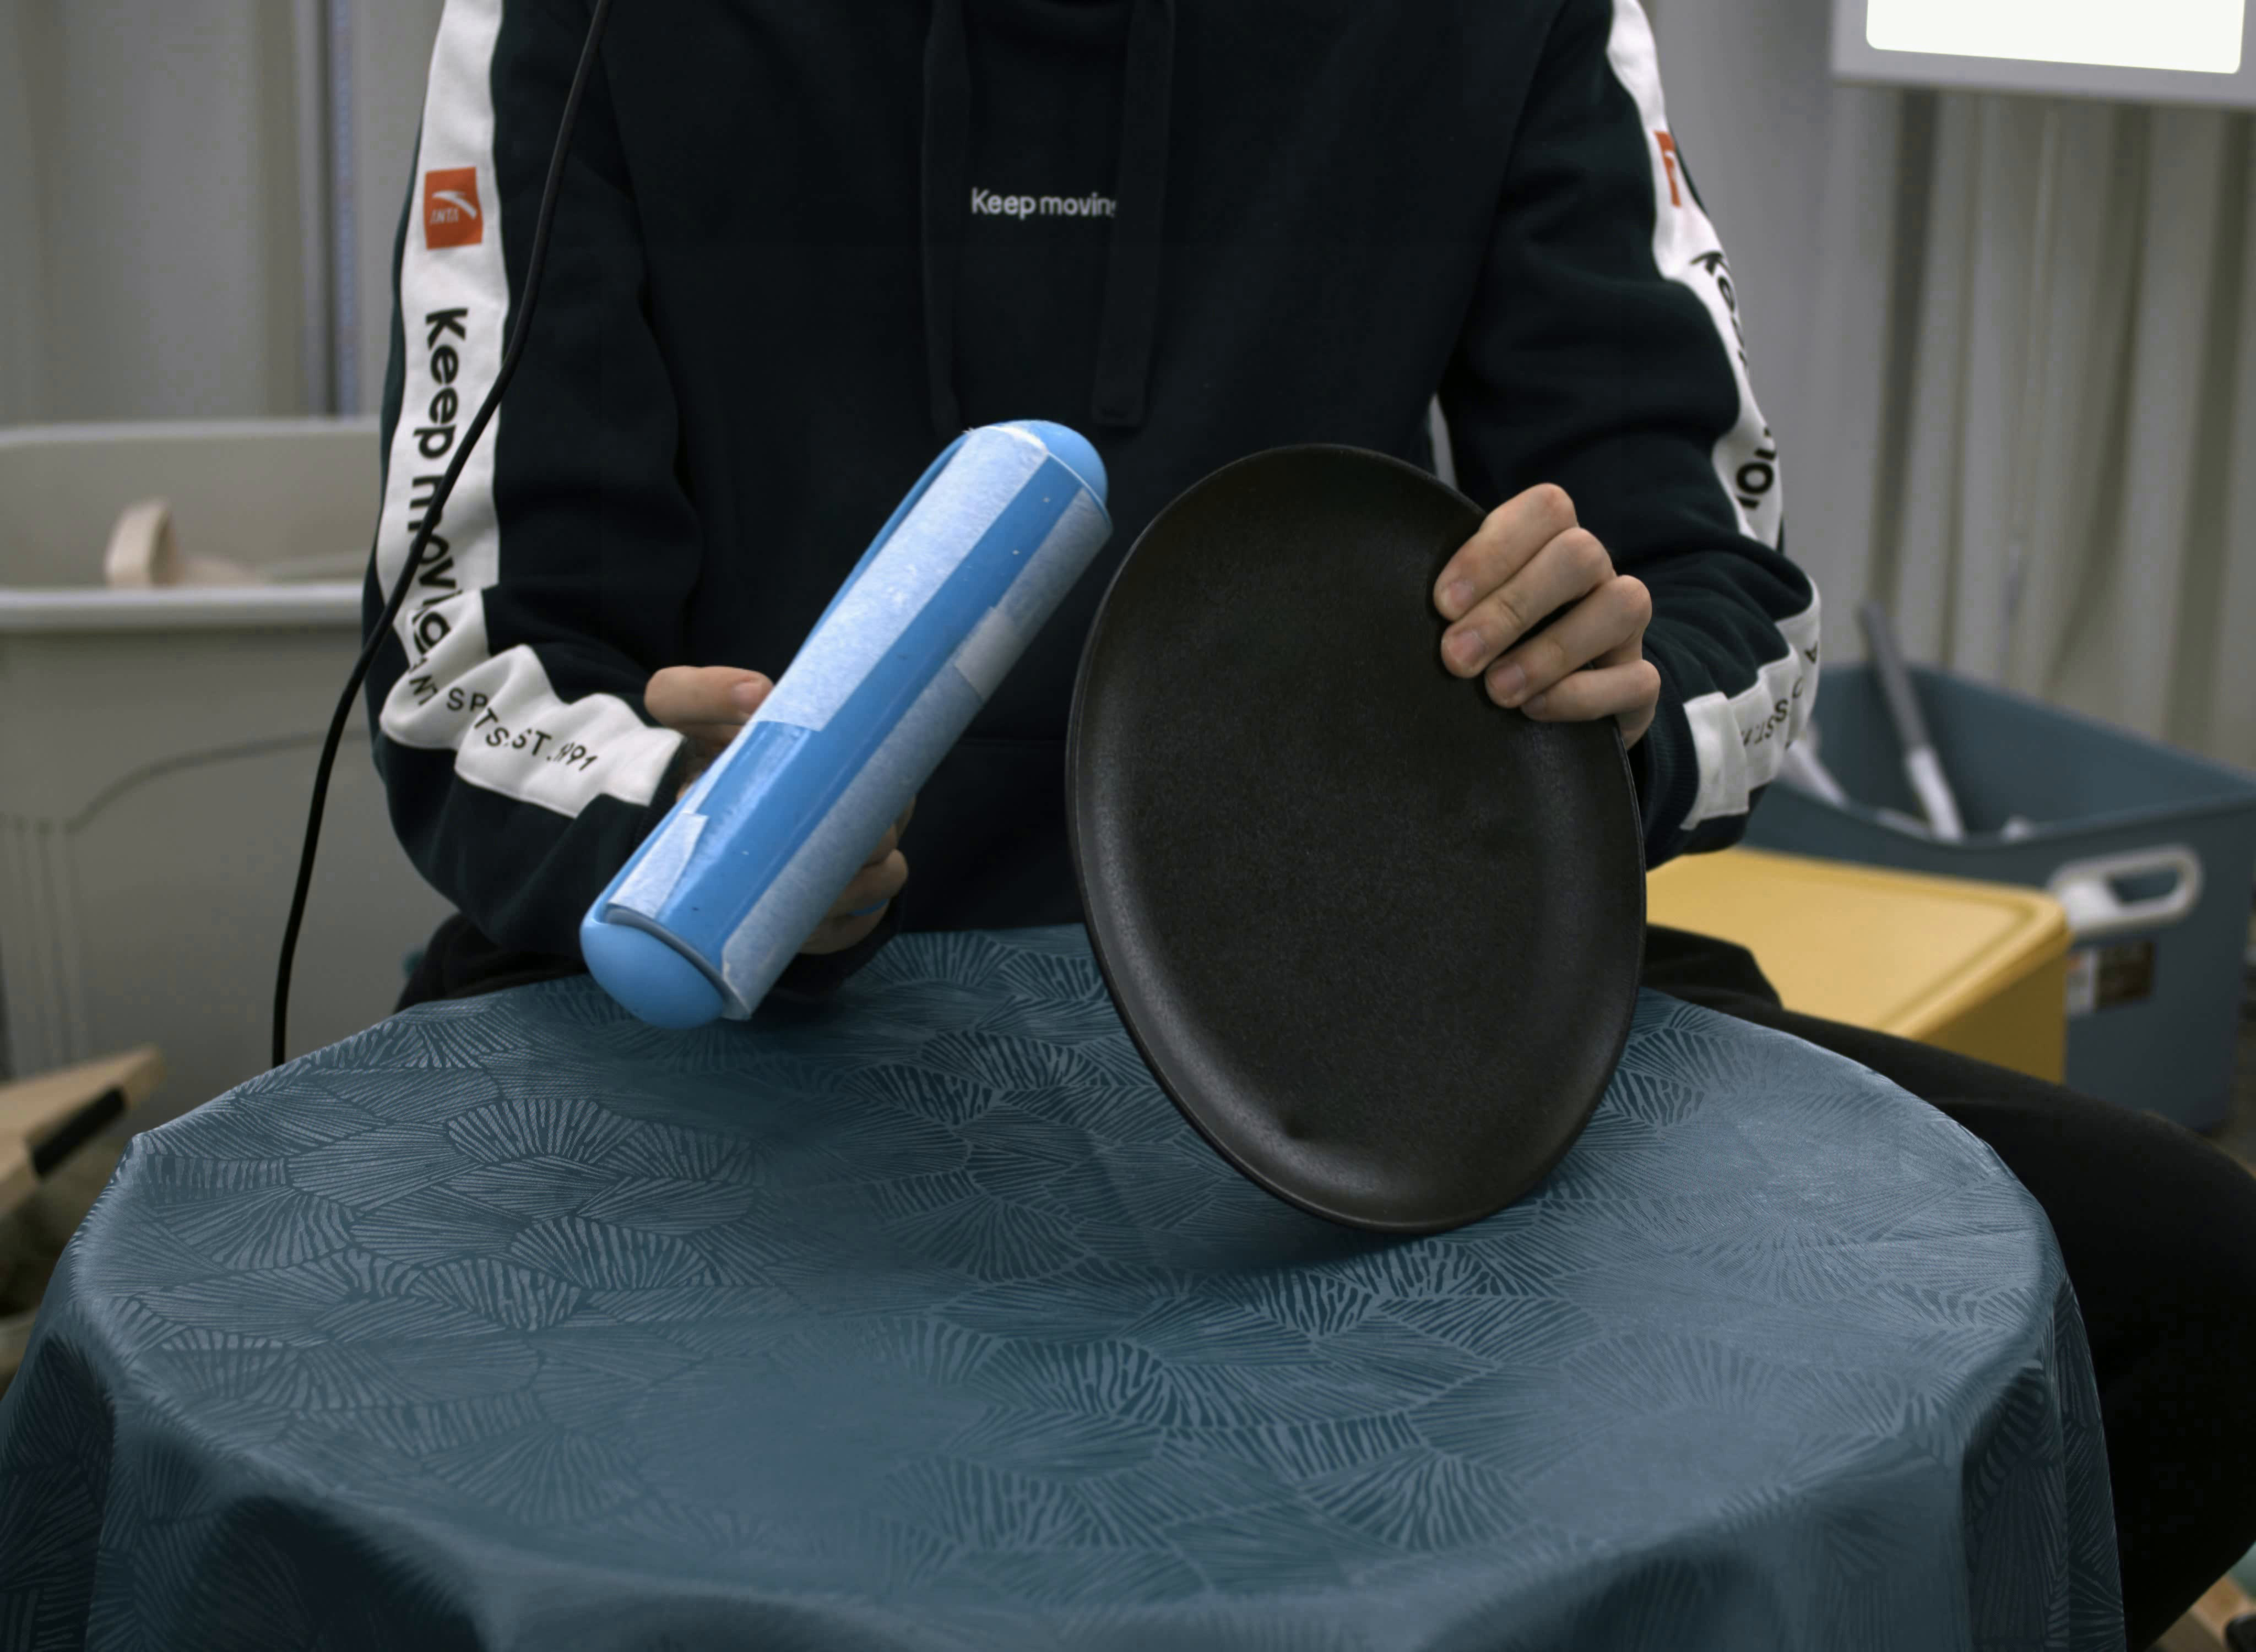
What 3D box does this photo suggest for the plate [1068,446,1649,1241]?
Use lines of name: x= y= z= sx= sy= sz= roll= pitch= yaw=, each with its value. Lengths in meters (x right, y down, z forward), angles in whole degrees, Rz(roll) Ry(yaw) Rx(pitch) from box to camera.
plate: x=0.068 y=0.006 z=1.596 sx=0.245 sy=0.245 sz=0.023 roll=-15 pitch=1 yaw=-44

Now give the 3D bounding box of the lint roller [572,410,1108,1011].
lint roller: x=-0.091 y=-0.016 z=1.630 sx=0.068 sy=0.228 sz=0.181 roll=34 pitch=-22 yaw=4
